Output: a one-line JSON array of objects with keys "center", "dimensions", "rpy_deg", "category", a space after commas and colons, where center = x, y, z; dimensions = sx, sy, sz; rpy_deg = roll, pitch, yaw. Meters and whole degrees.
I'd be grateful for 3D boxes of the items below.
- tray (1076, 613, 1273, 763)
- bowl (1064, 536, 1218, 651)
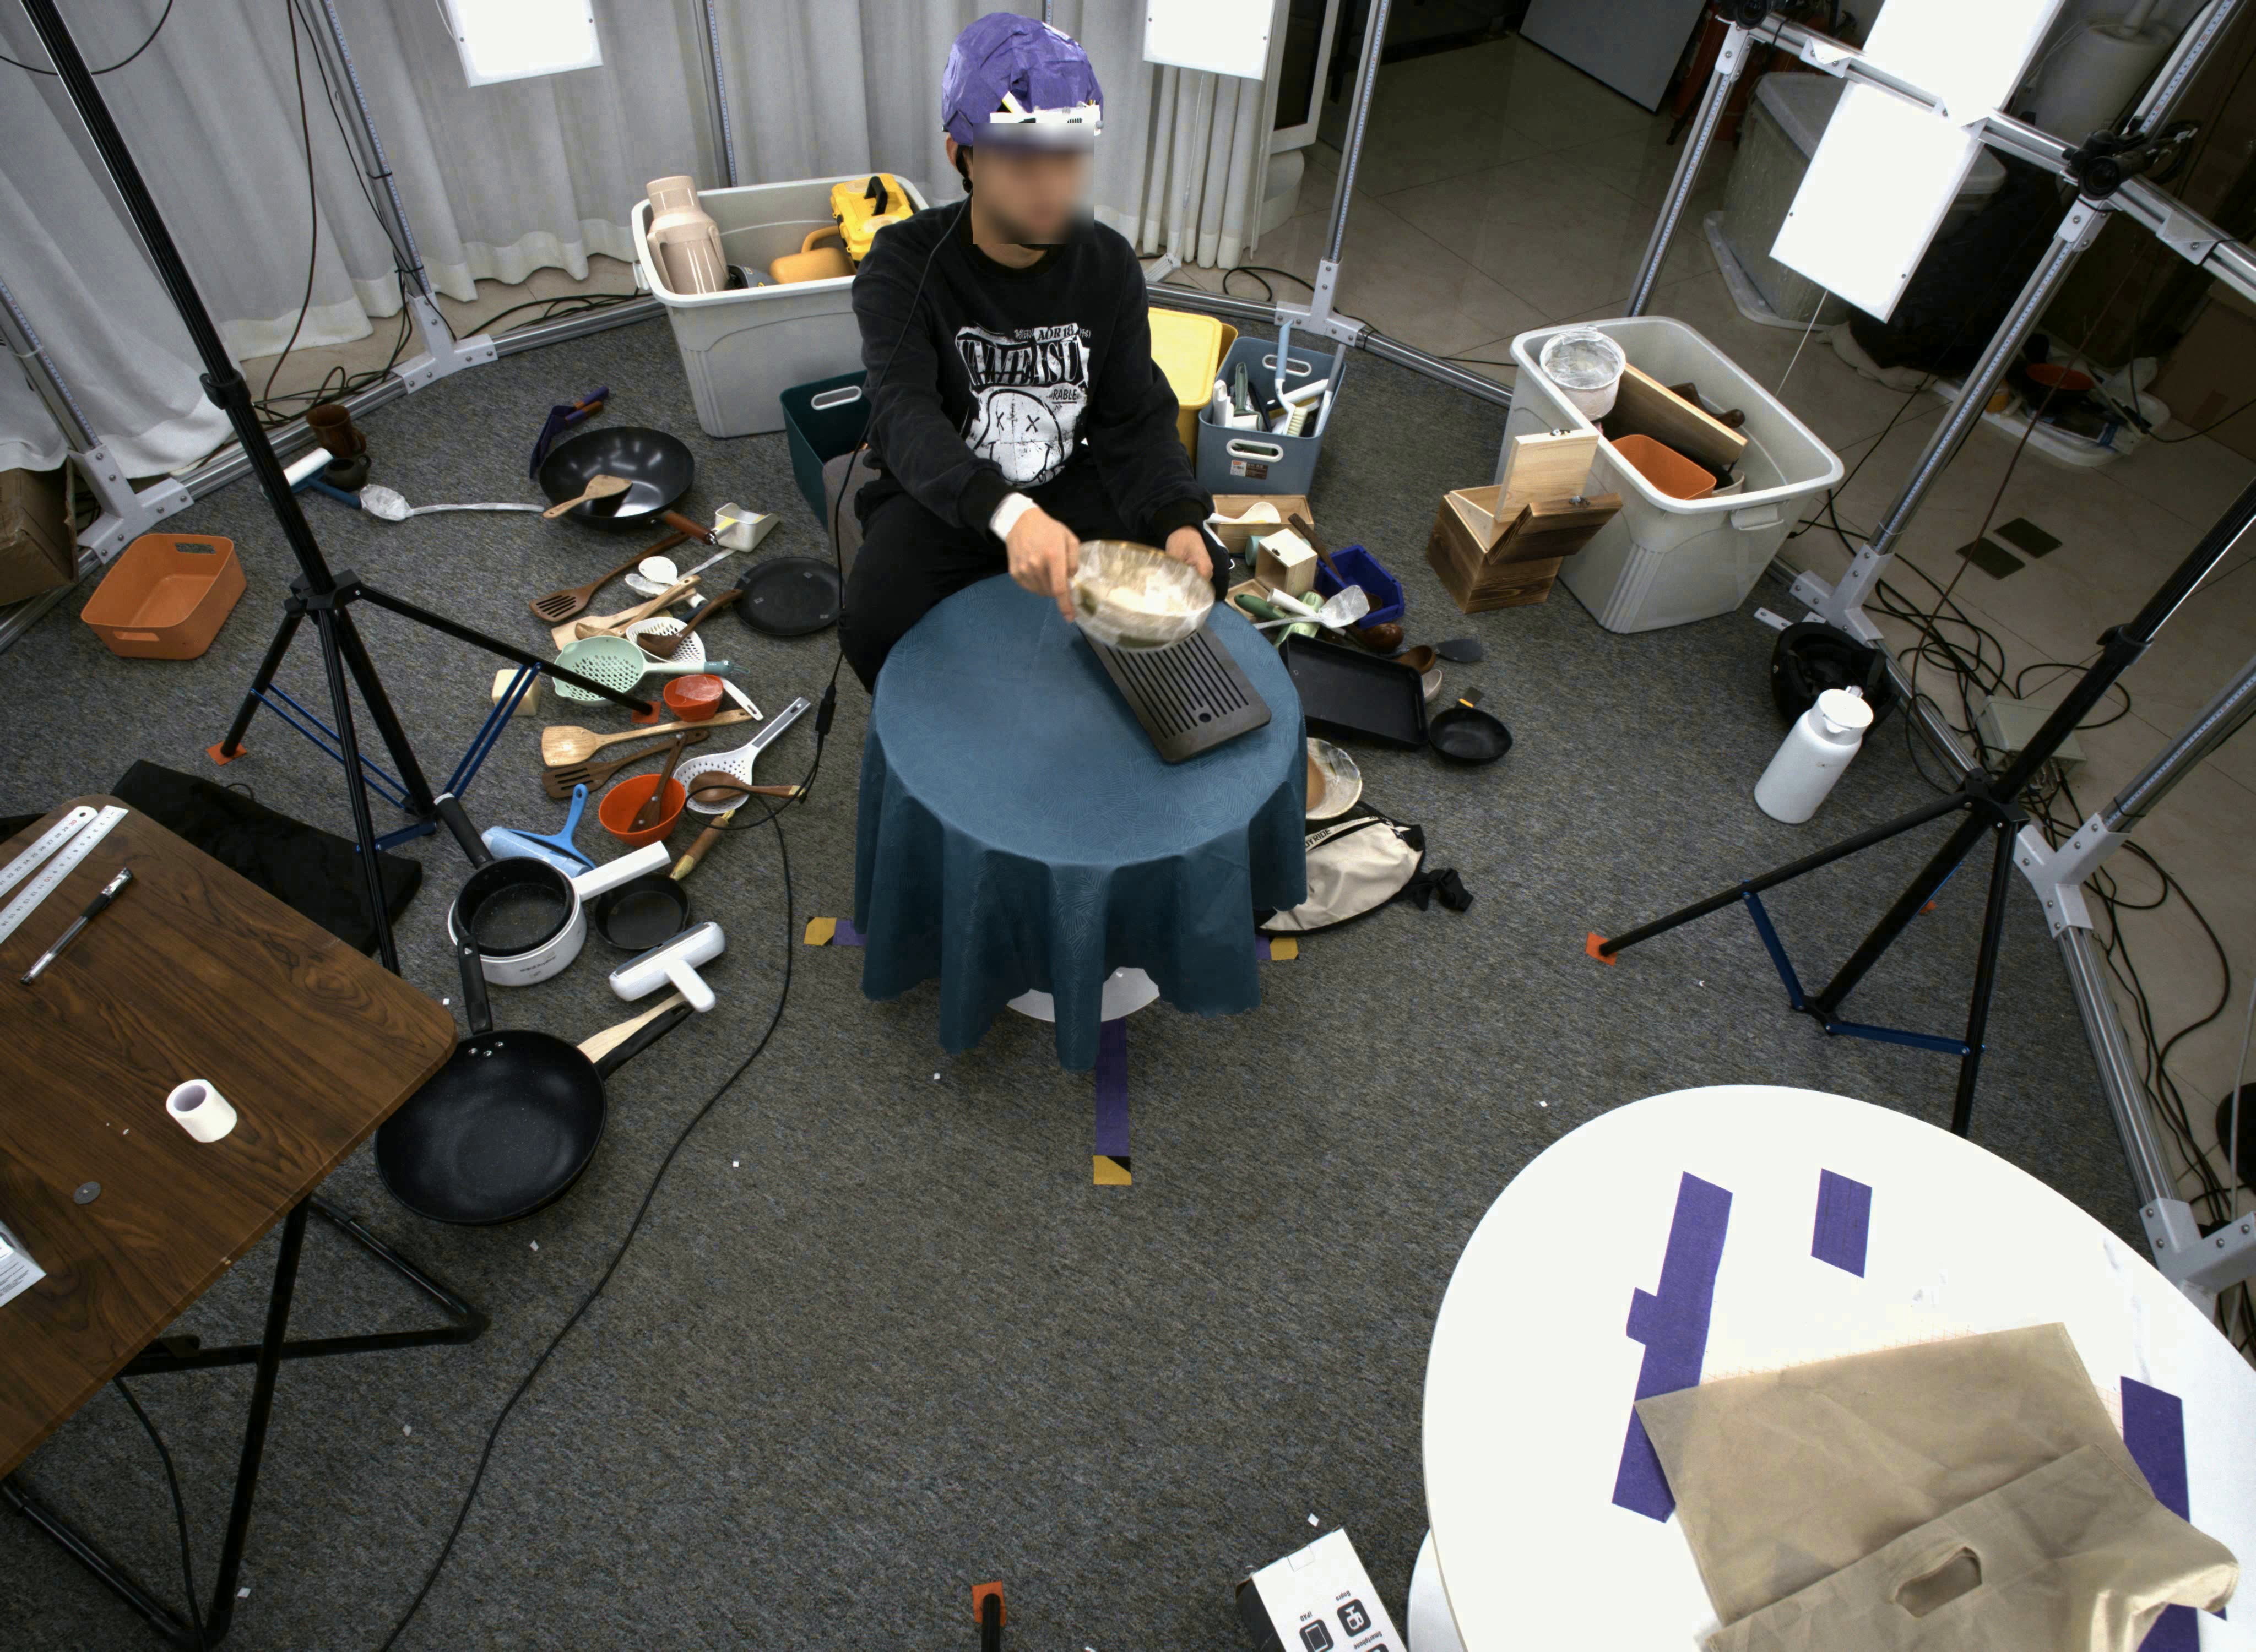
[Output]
[{"center": [0.063, -0.229, 1.849], "dimensions": [0.170, 0.018, 0.312], "rpy_deg": [-23, 59, -14], "category": "tray"}, {"center": [0.009, -0.291, 1.680], "dimensions": [0.214, 0.092, 0.220], "rpy_deg": [10, 34, -7], "category": "bowl"}]
